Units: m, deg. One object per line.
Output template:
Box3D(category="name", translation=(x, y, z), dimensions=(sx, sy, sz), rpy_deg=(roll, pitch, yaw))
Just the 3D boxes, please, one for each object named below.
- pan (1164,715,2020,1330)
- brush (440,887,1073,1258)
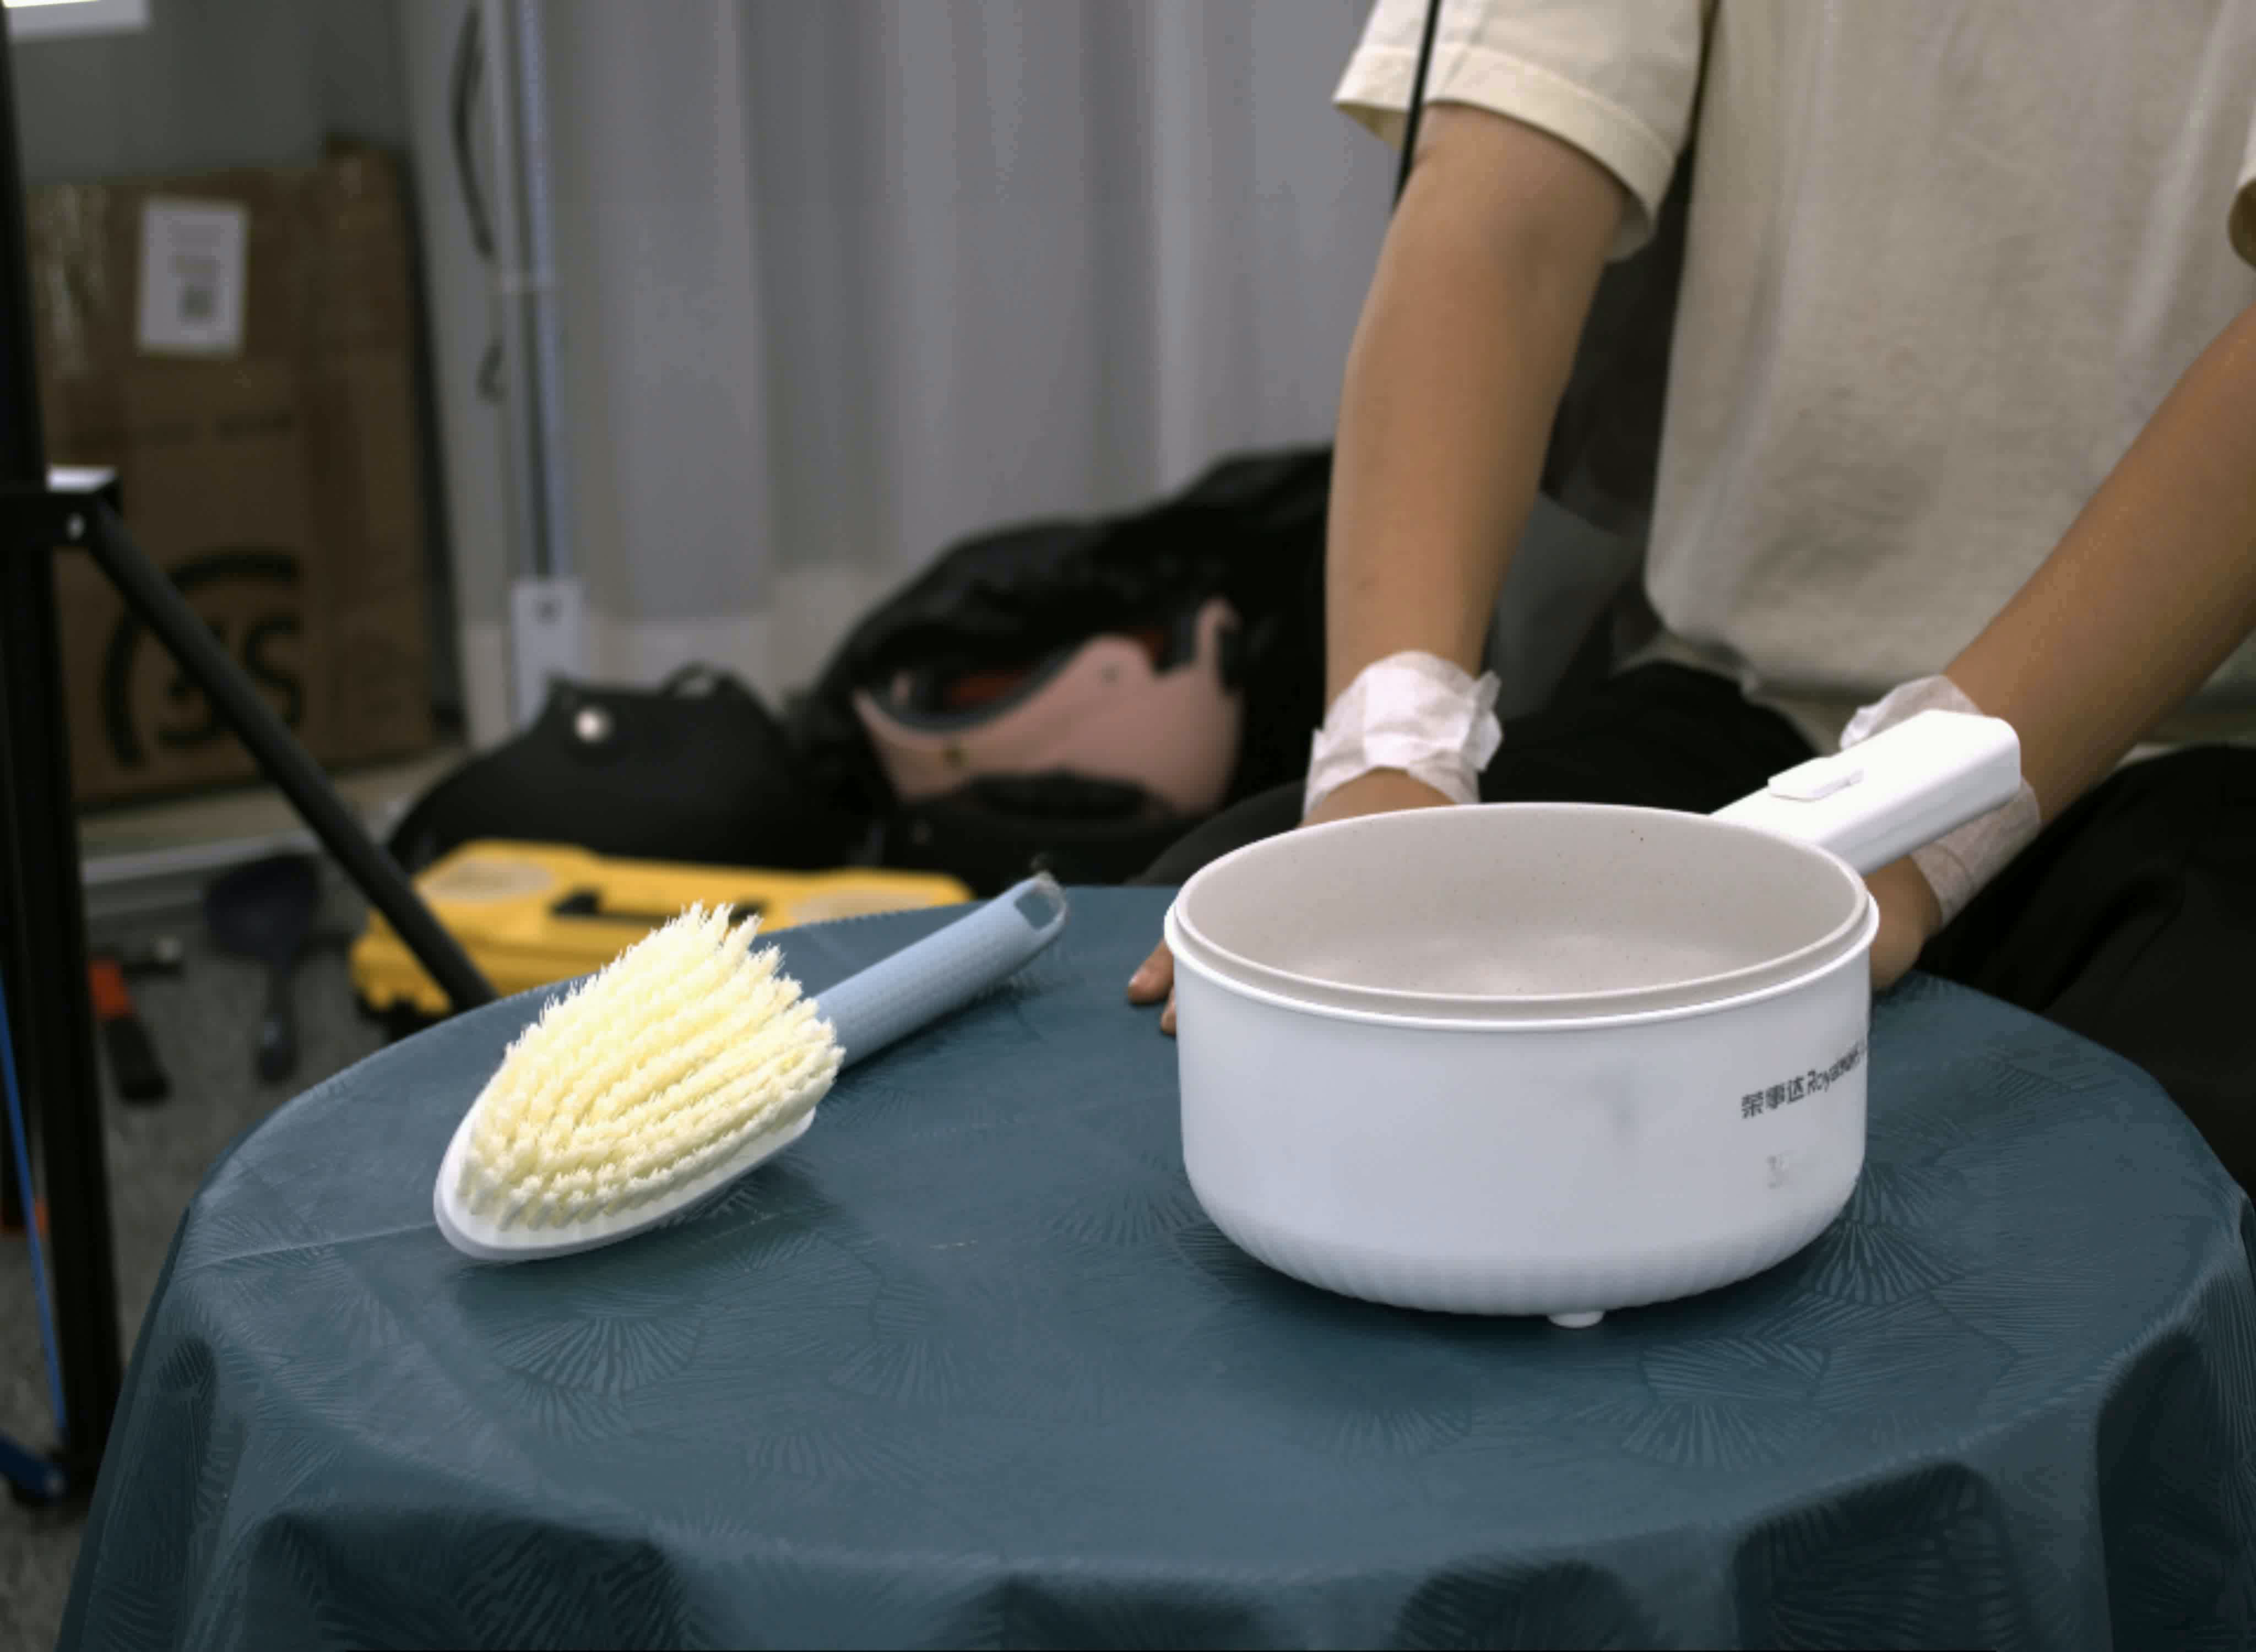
Box3D(category="pan", translation=(0.158, 0.051, 1.552), dimensions=(0.205, 0.102, 0.347), rpy_deg=(9, 18, 38))
Box3D(category="brush", translation=(-0.093, 0.050, 1.627), dimensions=(0.086, 0.083, 0.319), rpy_deg=(0, 16, 33))
